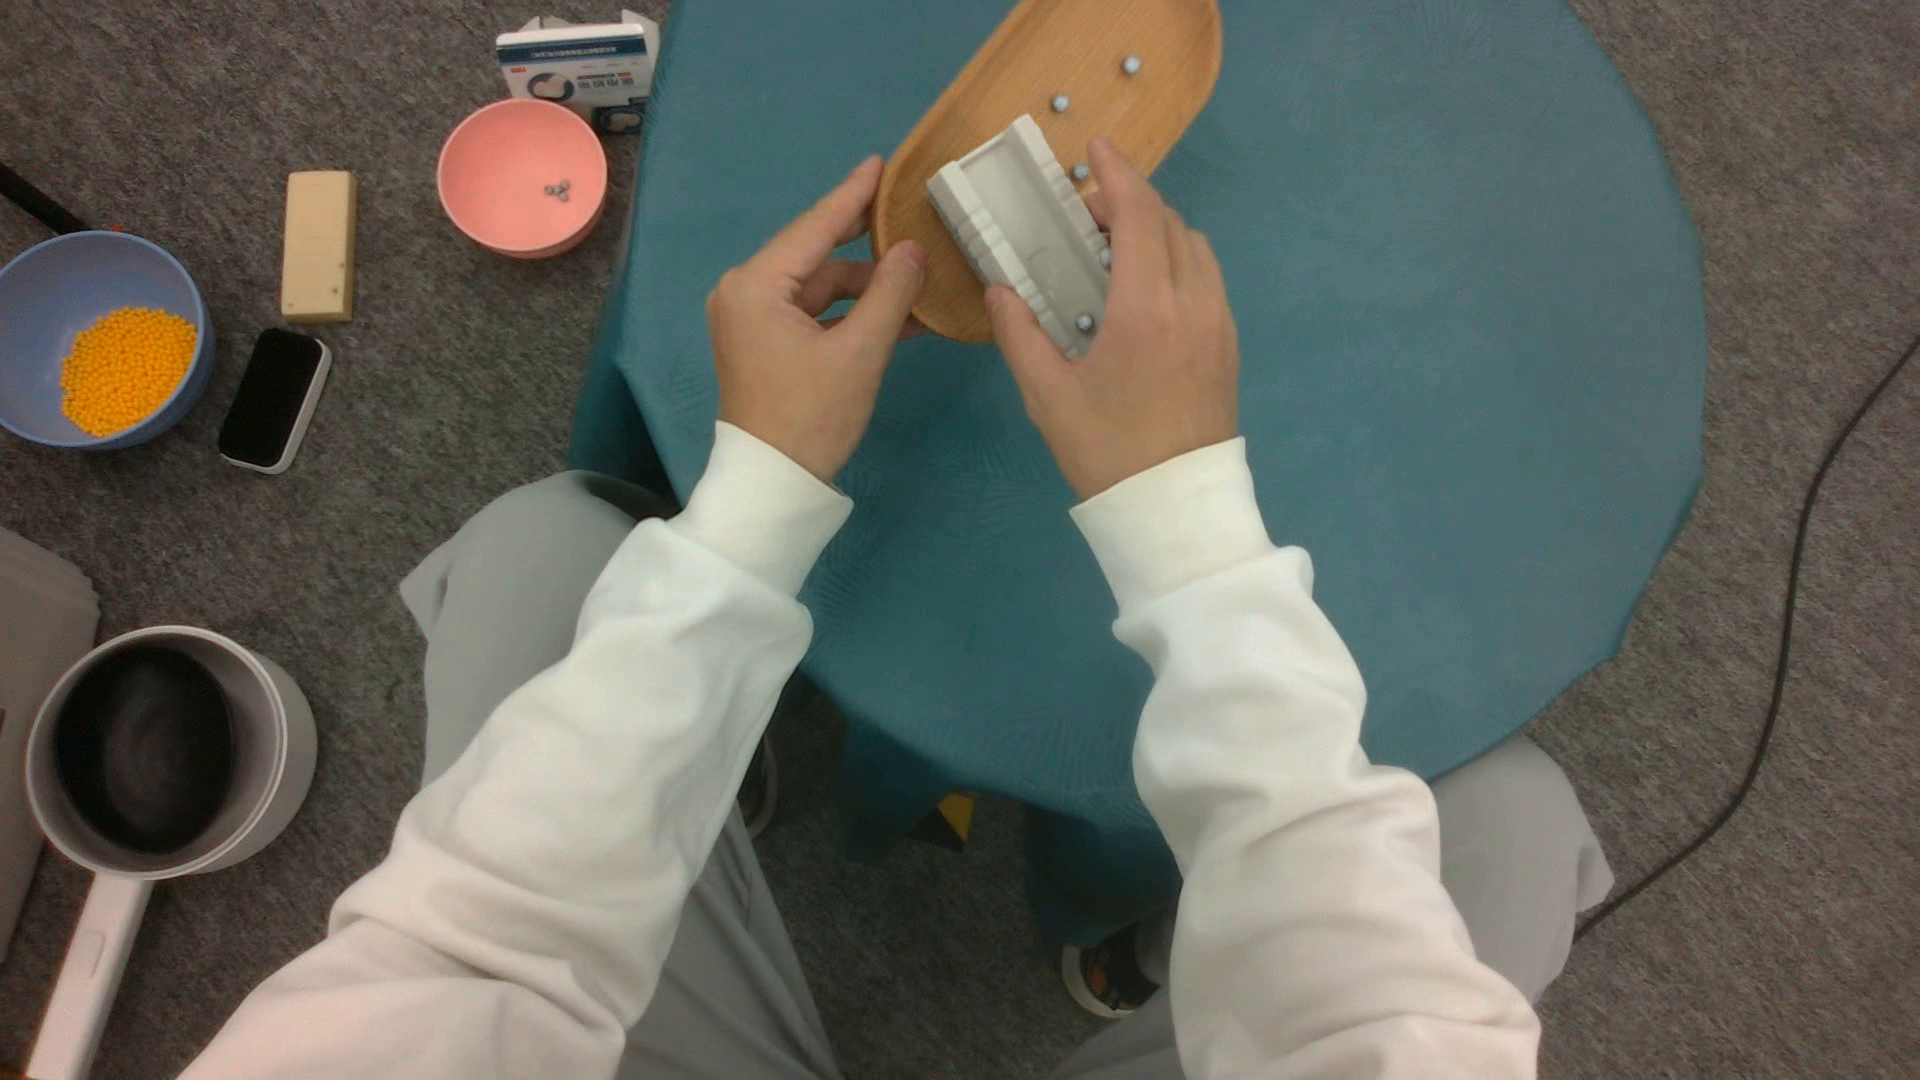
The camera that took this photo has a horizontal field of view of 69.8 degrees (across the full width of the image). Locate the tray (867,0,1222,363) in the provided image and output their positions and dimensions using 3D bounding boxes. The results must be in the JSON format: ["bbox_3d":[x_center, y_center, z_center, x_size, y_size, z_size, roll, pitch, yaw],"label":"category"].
[{"bbox_3d":[0.043,-0.185,0.654,0.101,0.020,0.231,41,79,-20],"label":"tray"}]

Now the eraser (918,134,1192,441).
[{"bbox_3d":[0.042,-0.112,0.627,0.050,0.046,0.134,-40,100,-8],"label":"eraser"}]
